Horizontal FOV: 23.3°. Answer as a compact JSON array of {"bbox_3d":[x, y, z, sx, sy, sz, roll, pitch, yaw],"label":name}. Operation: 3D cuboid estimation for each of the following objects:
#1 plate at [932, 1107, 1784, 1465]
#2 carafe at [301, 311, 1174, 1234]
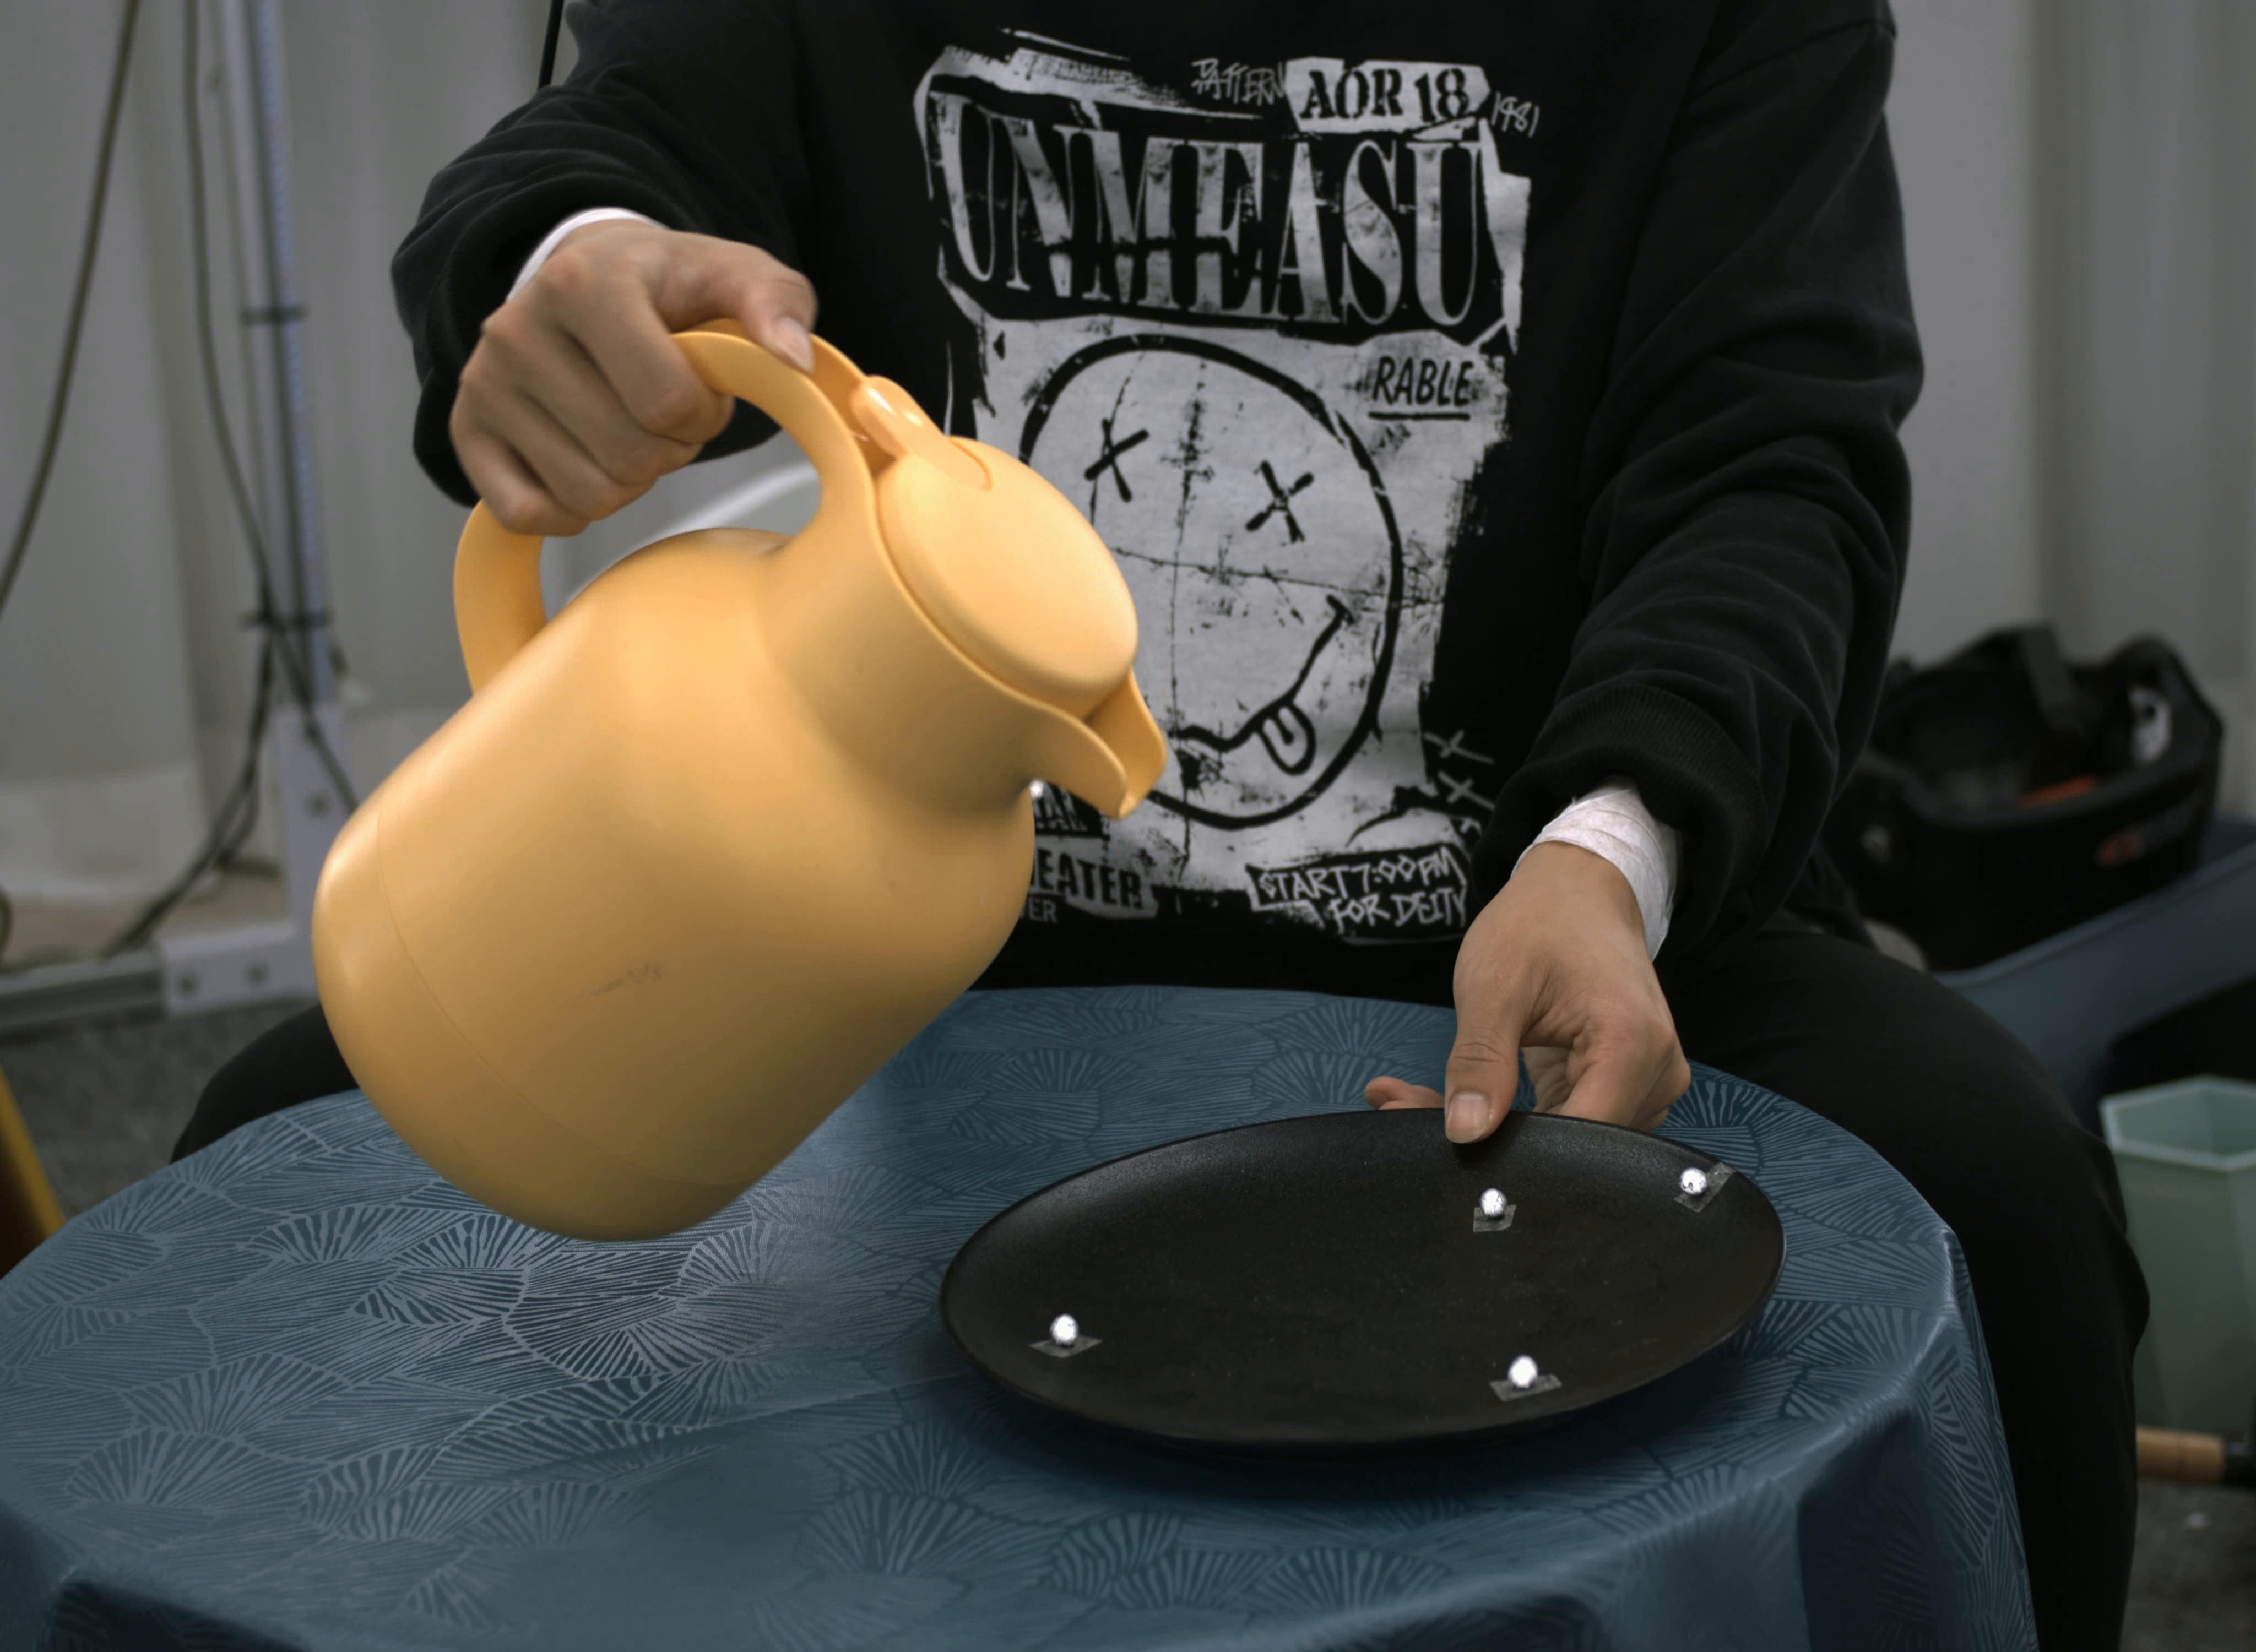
[{"bbox_3d":[0.066,0.135,1.561,0.243,0.023,0.246,-4,18,1],"label":"plate"},{"bbox_3d":[-0.119,-0.021,1.586,0.259,0.203,0.163,-38,-8,27],"label":"carafe"}]
